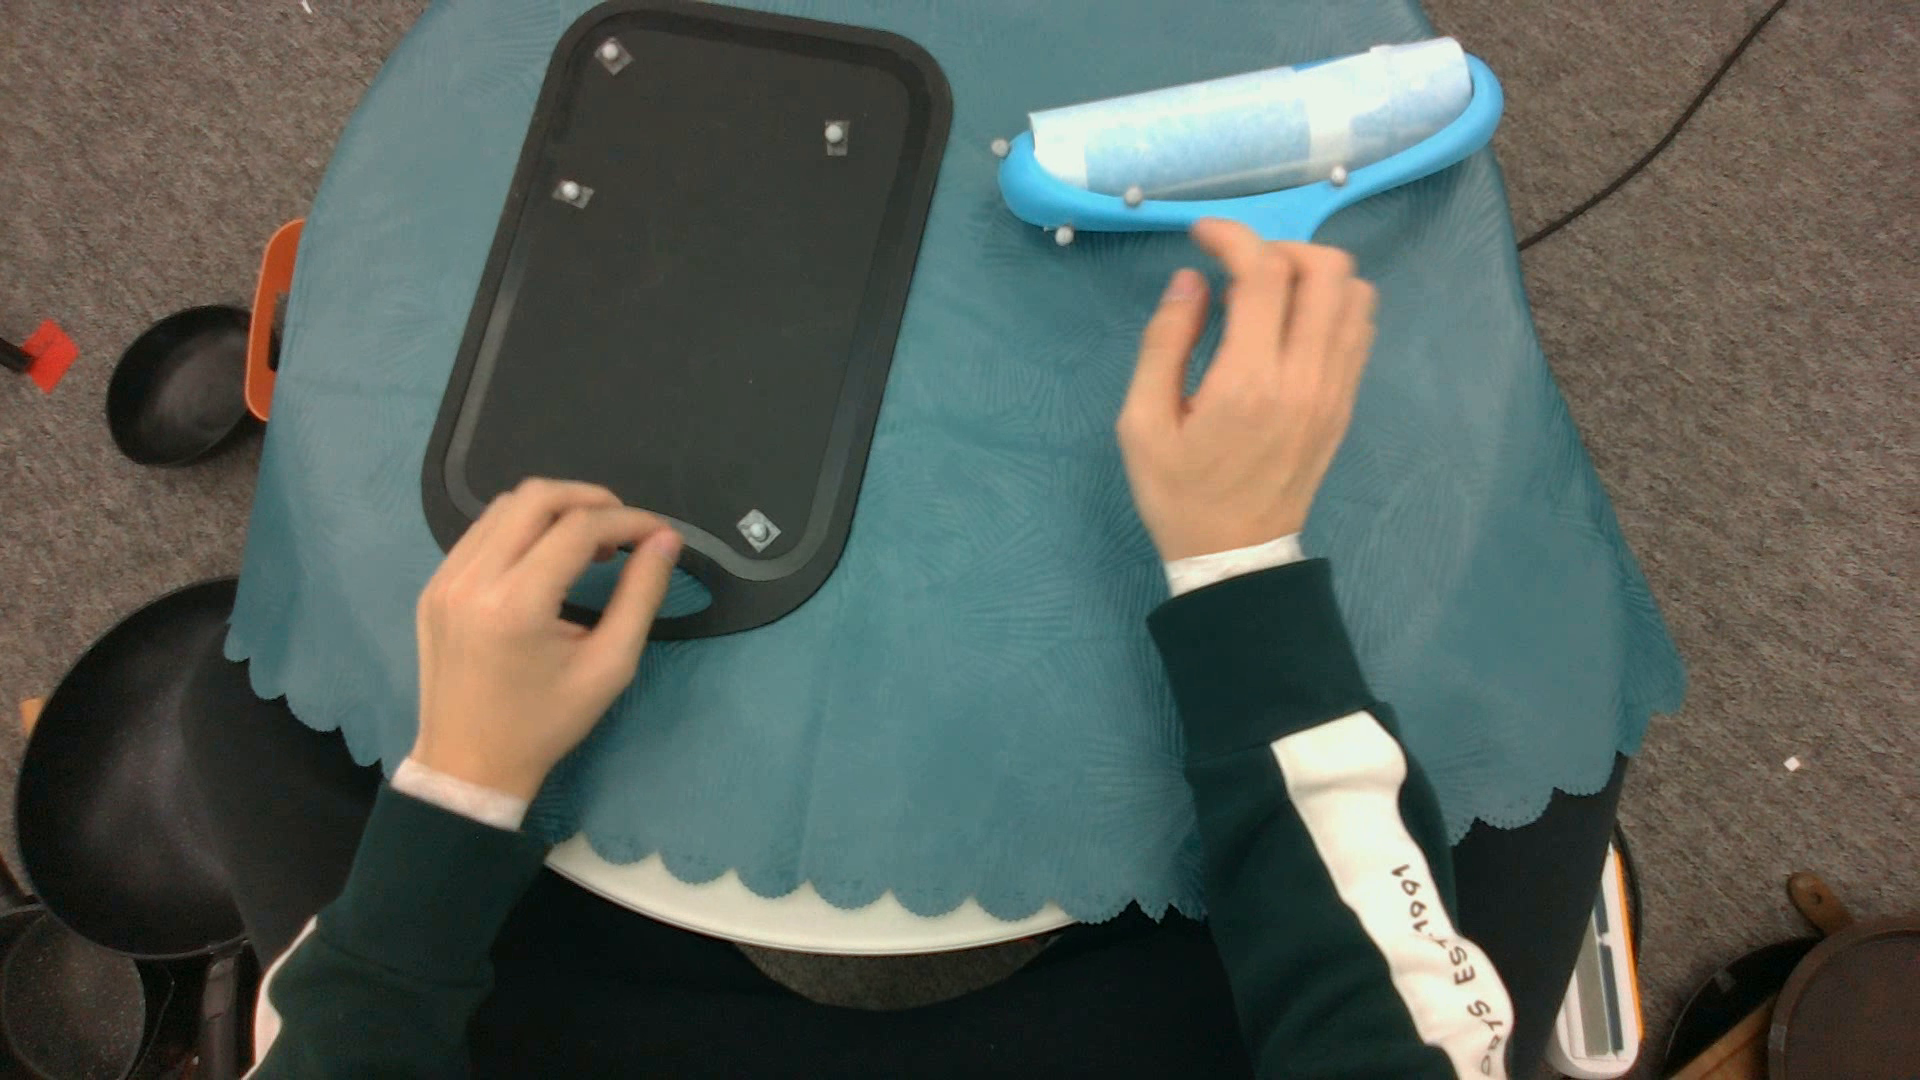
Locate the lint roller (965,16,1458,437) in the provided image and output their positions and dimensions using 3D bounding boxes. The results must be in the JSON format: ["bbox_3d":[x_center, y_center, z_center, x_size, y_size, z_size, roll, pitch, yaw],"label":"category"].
[{"bbox_3d":[0.128,-0.140,0.625,0.229,0.068,0.180,-13,75,0],"label":"lint roller"}]

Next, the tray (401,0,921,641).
[{"bbox_3d":[-0.144,-0.113,0.665,0.211,0.010,0.326,10,78,7],"label":"tray"}]
